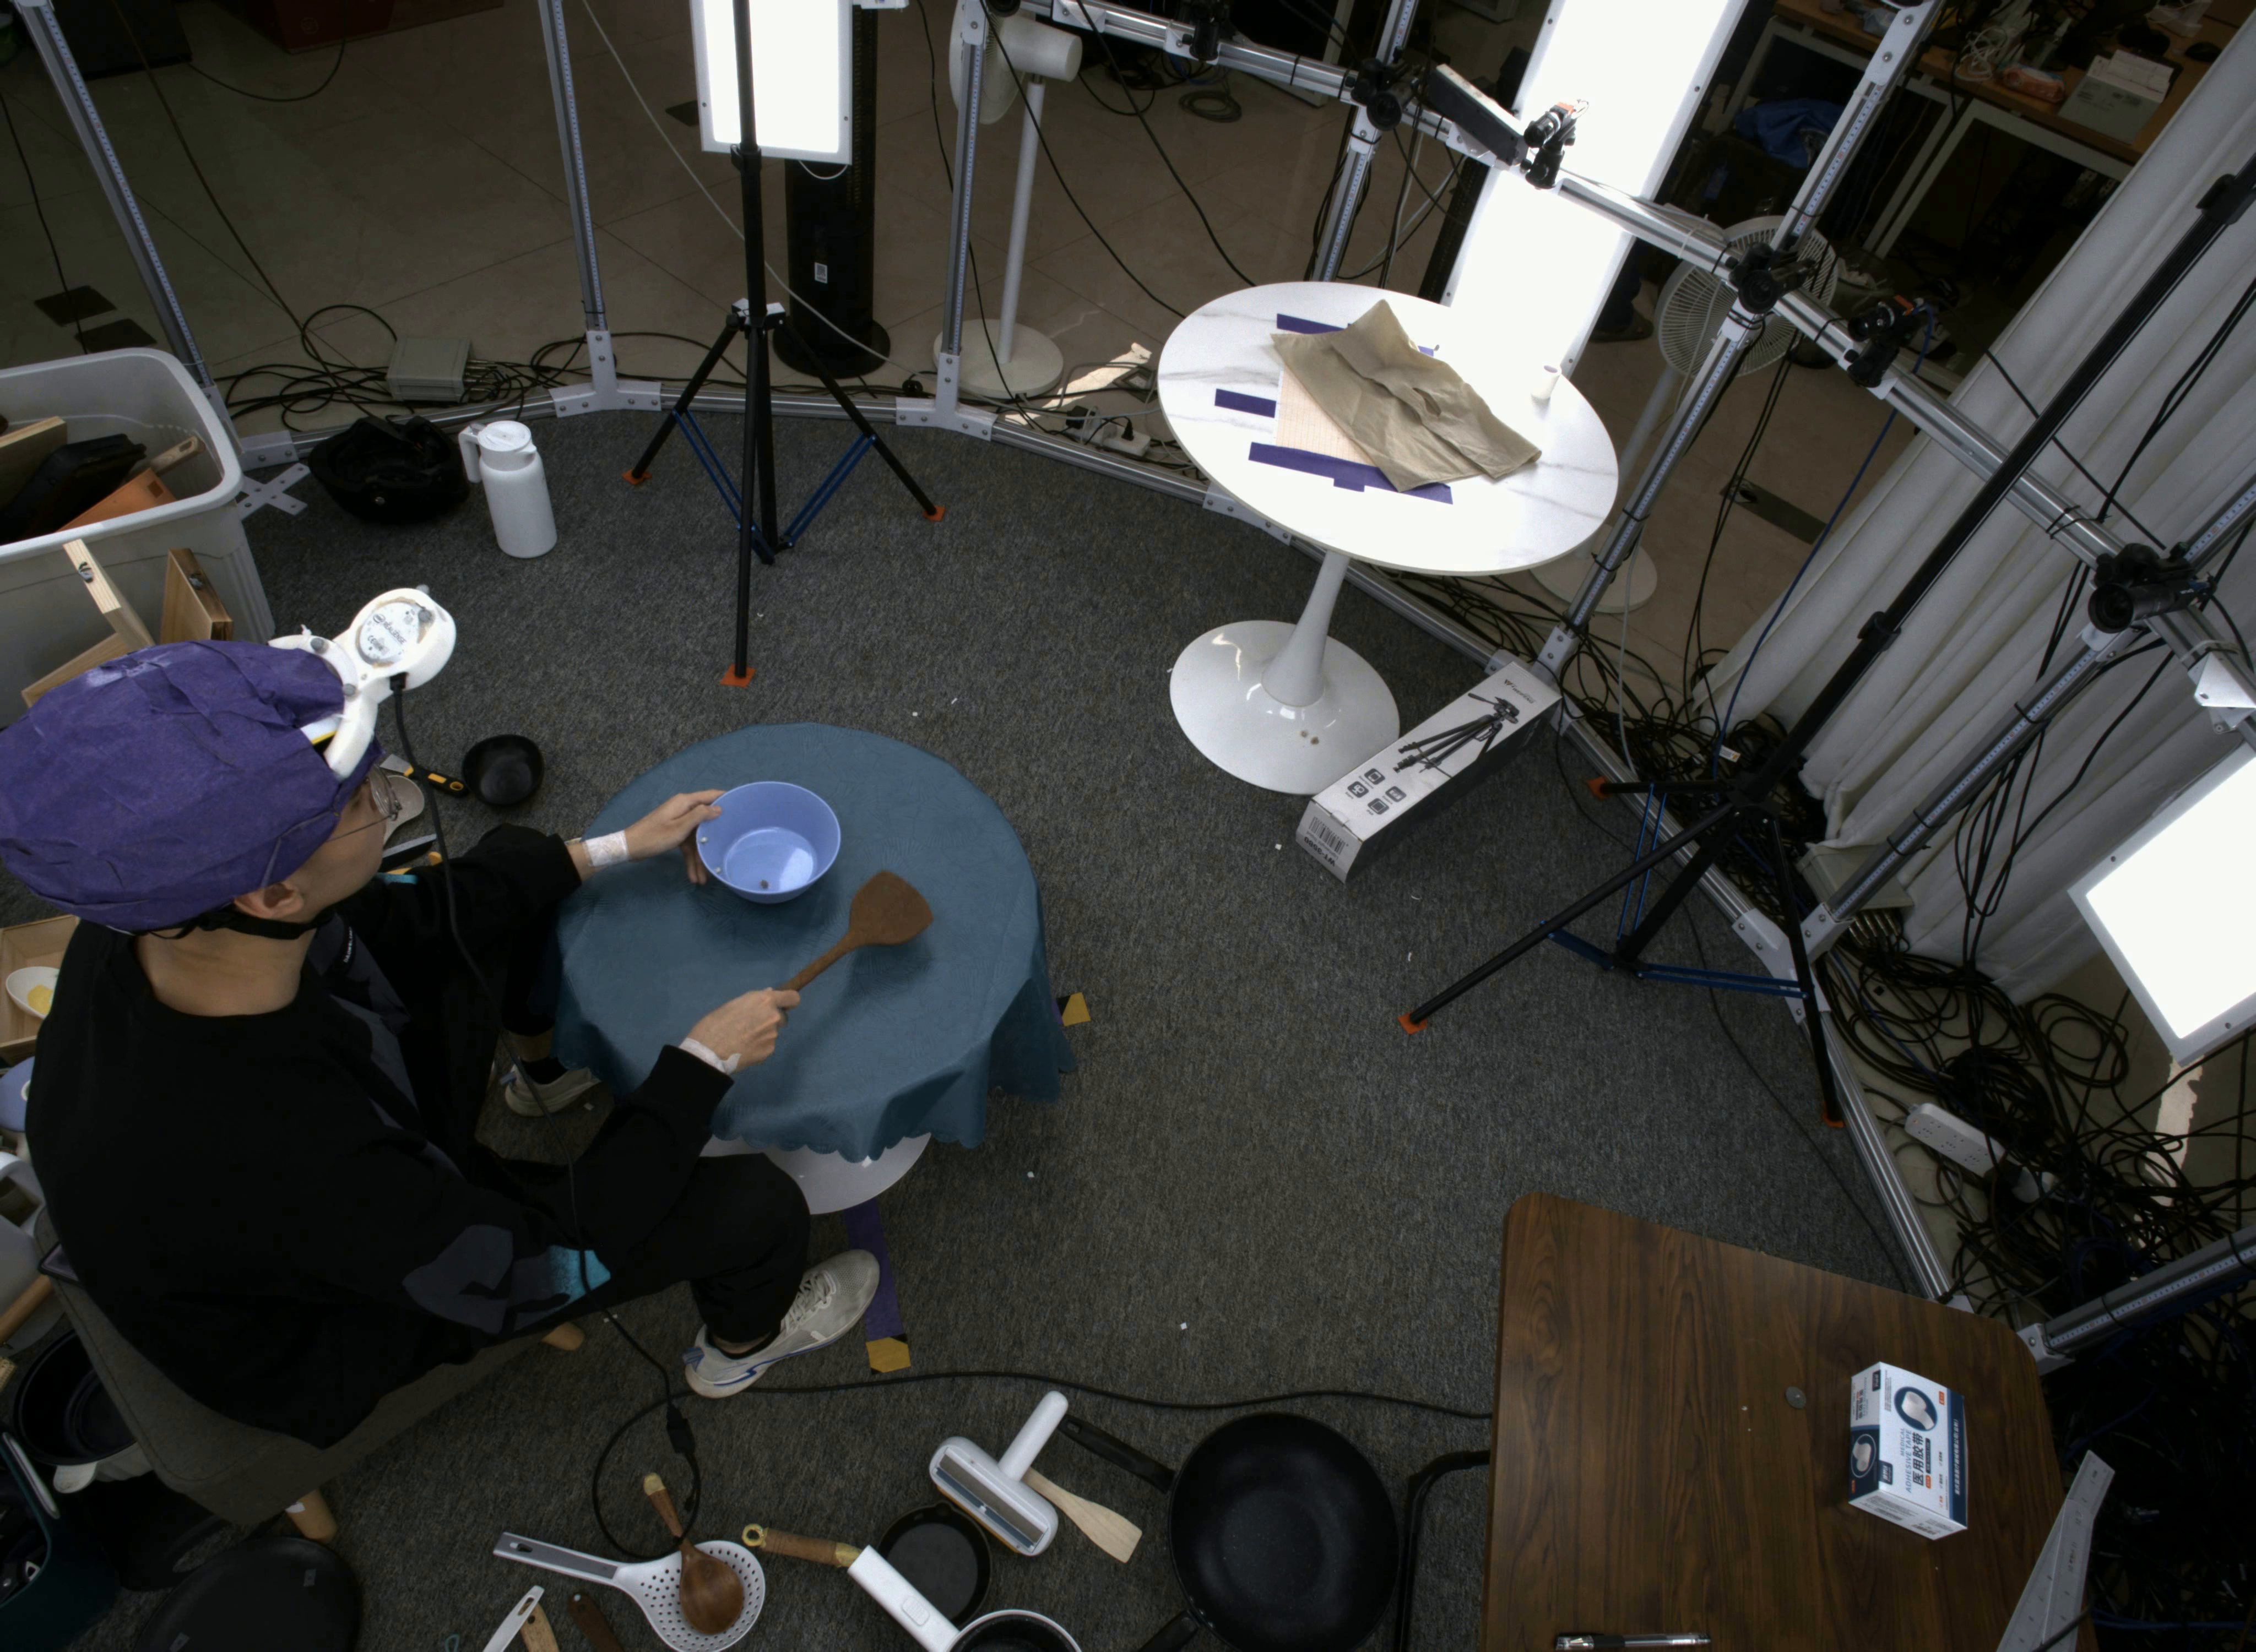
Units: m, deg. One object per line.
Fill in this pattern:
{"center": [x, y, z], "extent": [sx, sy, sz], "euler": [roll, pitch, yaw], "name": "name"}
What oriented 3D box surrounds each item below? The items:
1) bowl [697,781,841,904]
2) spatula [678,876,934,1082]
{"center": [-0.452, 0.030, 1.642], "extent": [0.175, 0.072, 0.173], "euler": [7, 53, -8], "name": "bowl"}
{"center": [-0.374, 0.176, 1.512], "extent": [0.095, 0.016, 0.386], "euler": [43, 45, 6], "name": "spatula"}
